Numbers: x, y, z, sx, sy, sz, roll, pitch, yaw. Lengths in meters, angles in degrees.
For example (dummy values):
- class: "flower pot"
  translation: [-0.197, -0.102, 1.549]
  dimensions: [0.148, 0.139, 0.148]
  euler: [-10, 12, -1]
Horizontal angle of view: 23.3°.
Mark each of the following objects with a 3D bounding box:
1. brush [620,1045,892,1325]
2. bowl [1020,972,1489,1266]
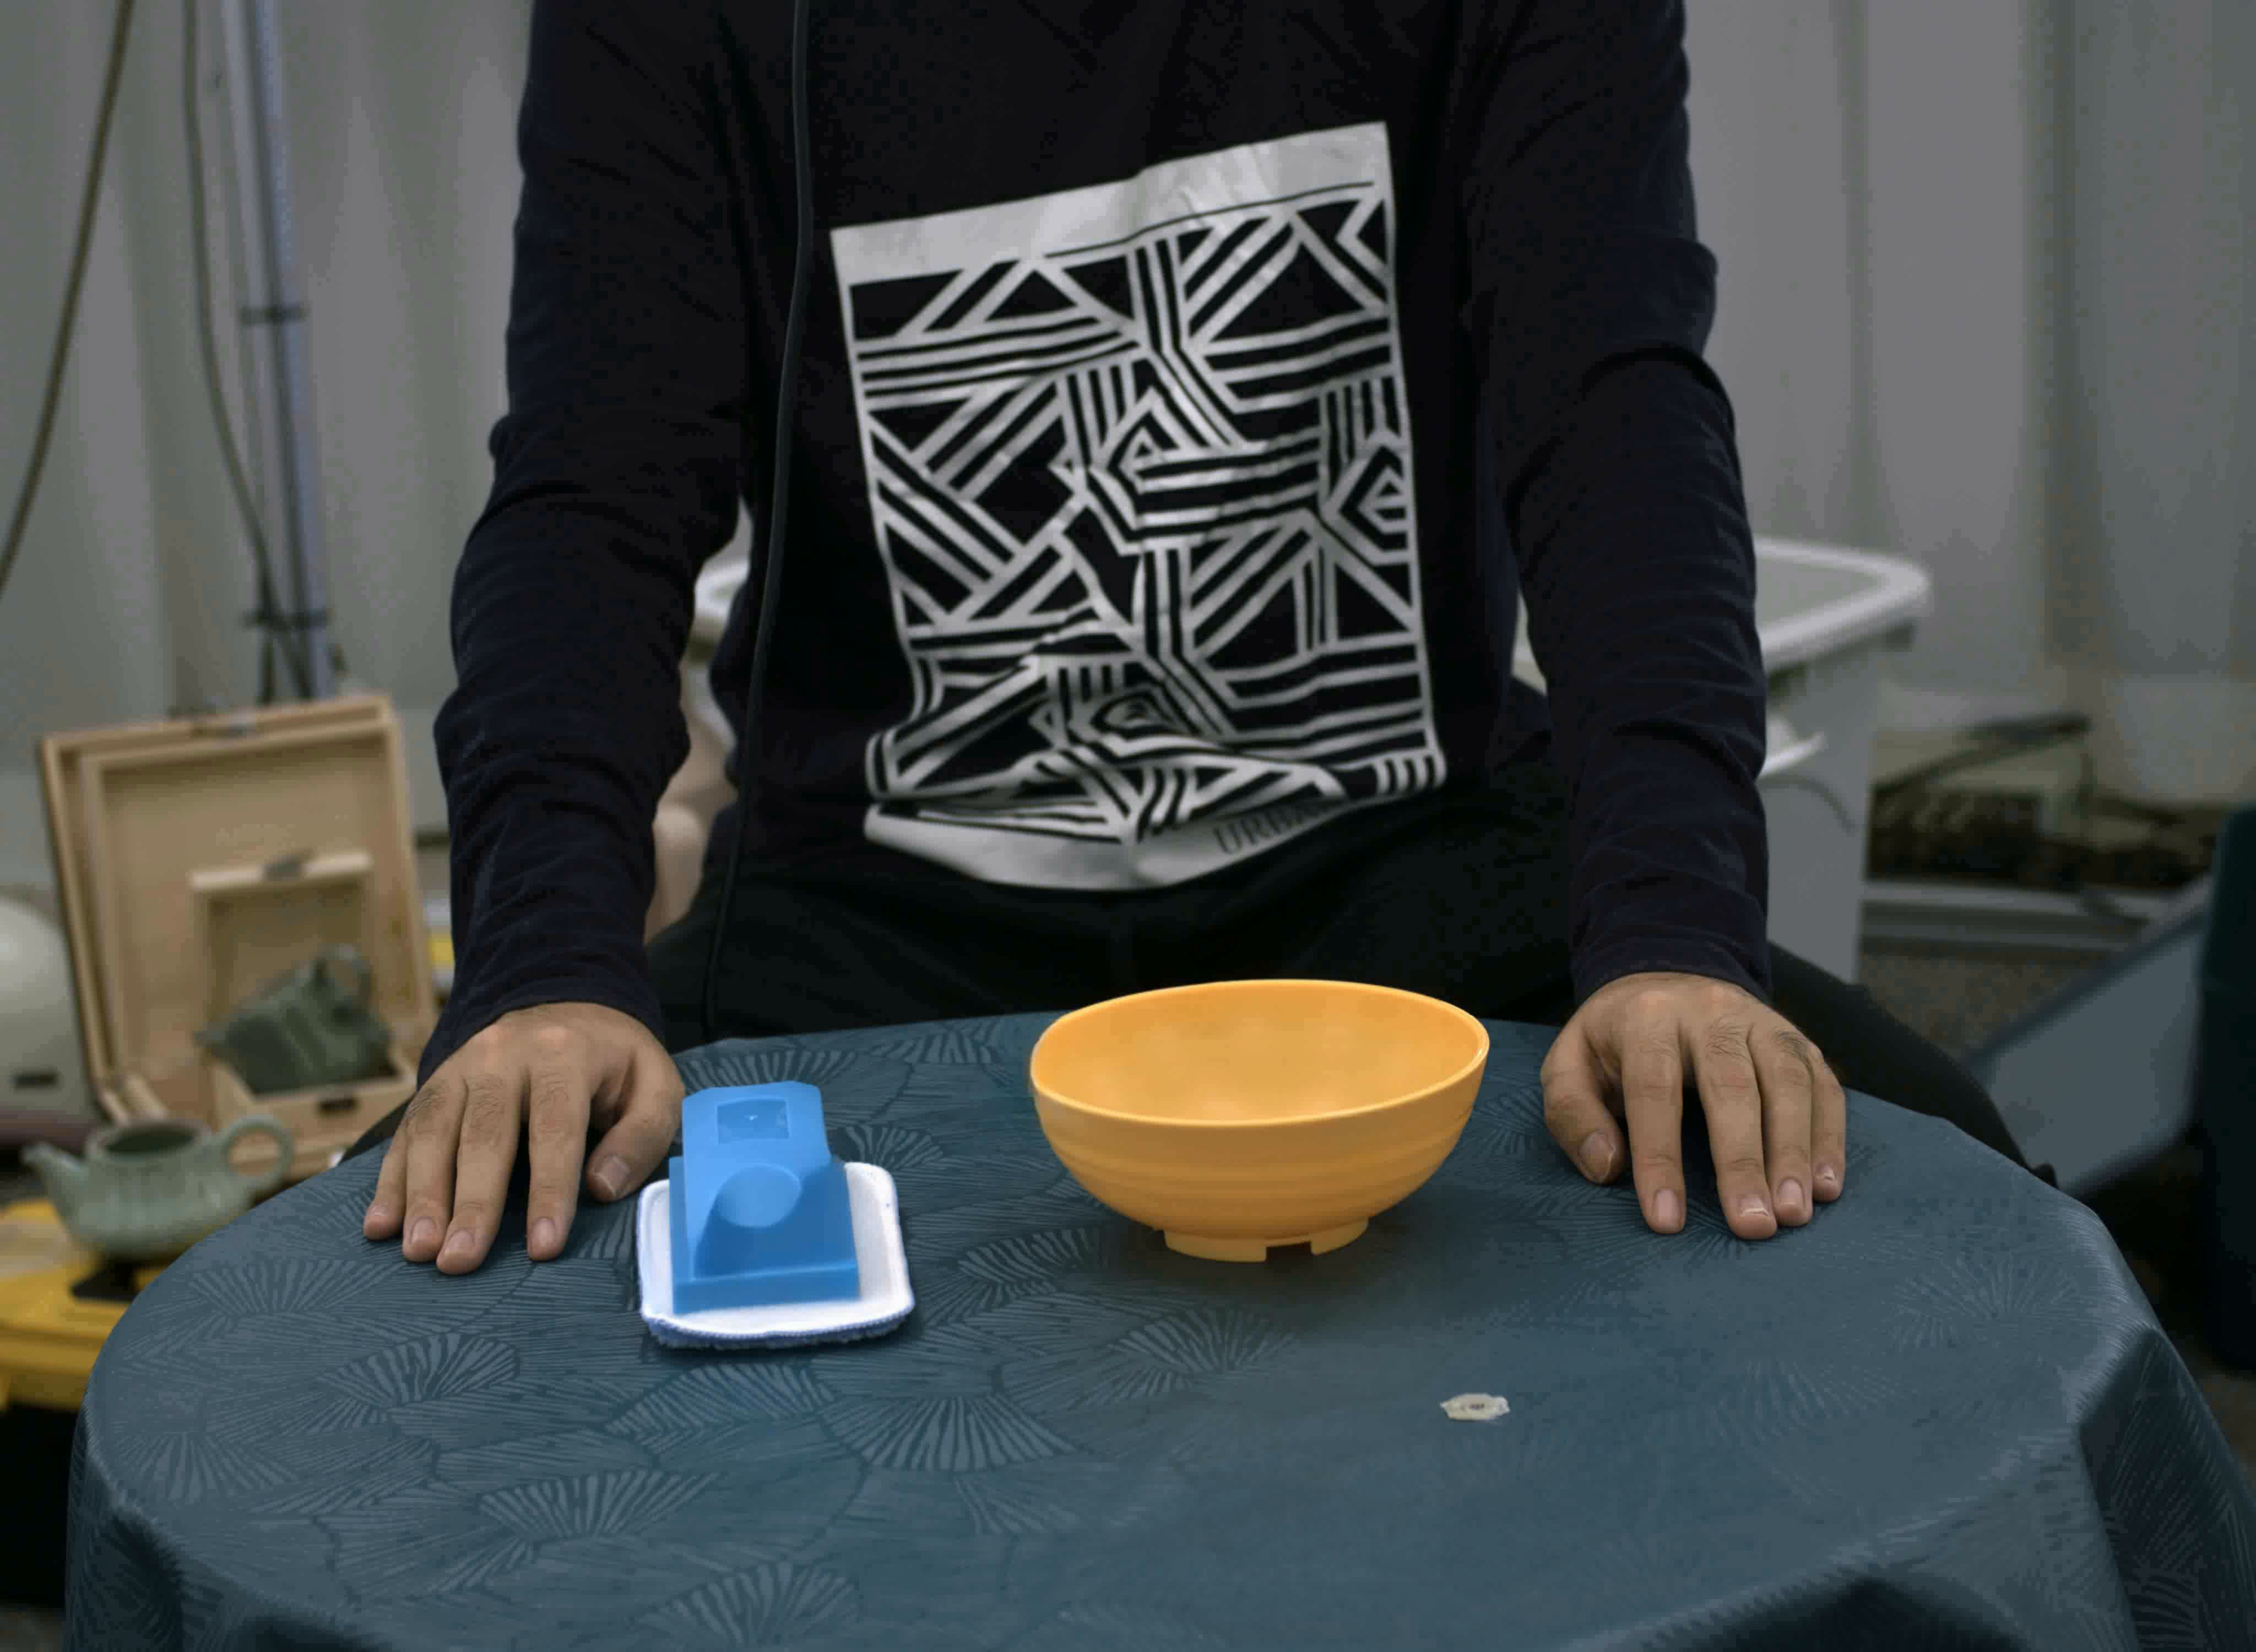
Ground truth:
- class: "brush"
  translation: [-0.112, 0.105, 1.653]
  dimensions: [0.083, 0.055, 0.145]
  euler: [0, 17, -4]
- class: "bowl"
  translation: [0.039, 0.095, 1.671]
  dimensions: [0.145, 0.060, 0.146]
  euler: [-2, 17, 0]
